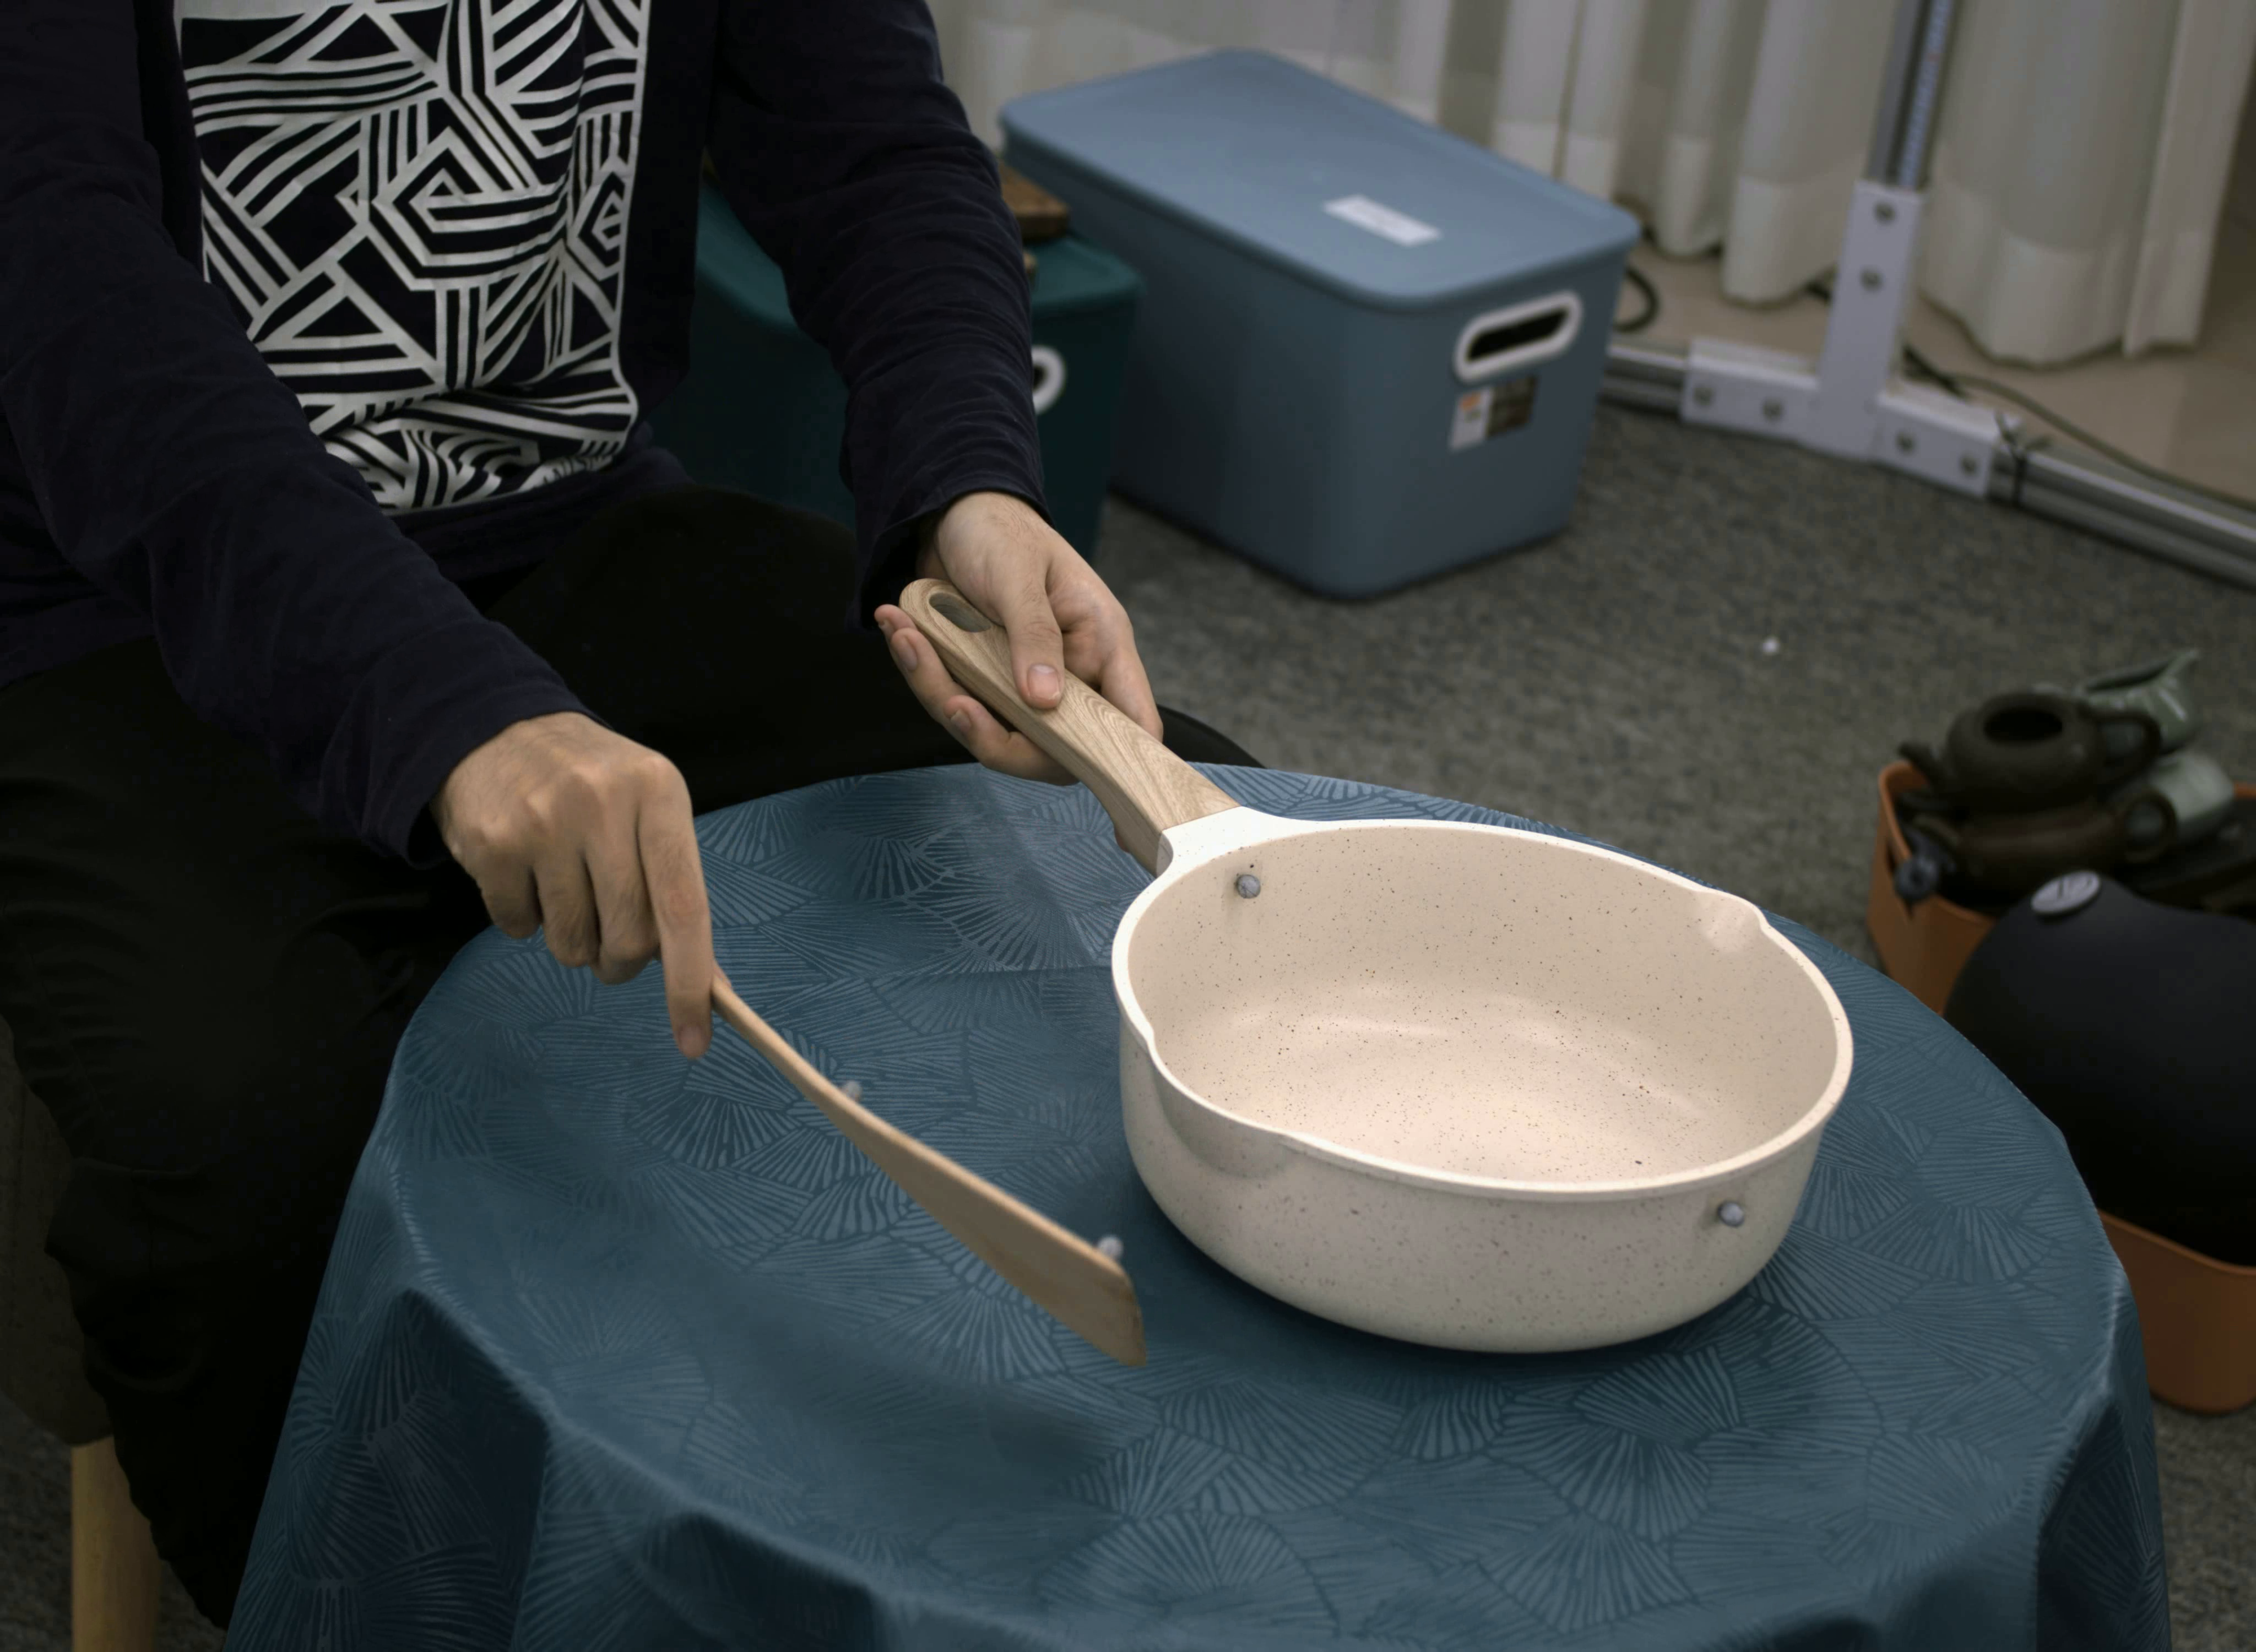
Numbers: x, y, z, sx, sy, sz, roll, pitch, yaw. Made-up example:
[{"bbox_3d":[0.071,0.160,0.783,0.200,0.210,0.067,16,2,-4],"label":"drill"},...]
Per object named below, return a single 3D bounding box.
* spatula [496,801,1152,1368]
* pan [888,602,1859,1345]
[{"bbox_3d":[-0.103,0.076,1.721,0.016,0.079,0.330,-41,53,-15],"label":"spatula"},{"bbox_3d":[0.058,0.047,1.869,0.262,0.101,0.438,-18,35,-38],"label":"pan"}]
